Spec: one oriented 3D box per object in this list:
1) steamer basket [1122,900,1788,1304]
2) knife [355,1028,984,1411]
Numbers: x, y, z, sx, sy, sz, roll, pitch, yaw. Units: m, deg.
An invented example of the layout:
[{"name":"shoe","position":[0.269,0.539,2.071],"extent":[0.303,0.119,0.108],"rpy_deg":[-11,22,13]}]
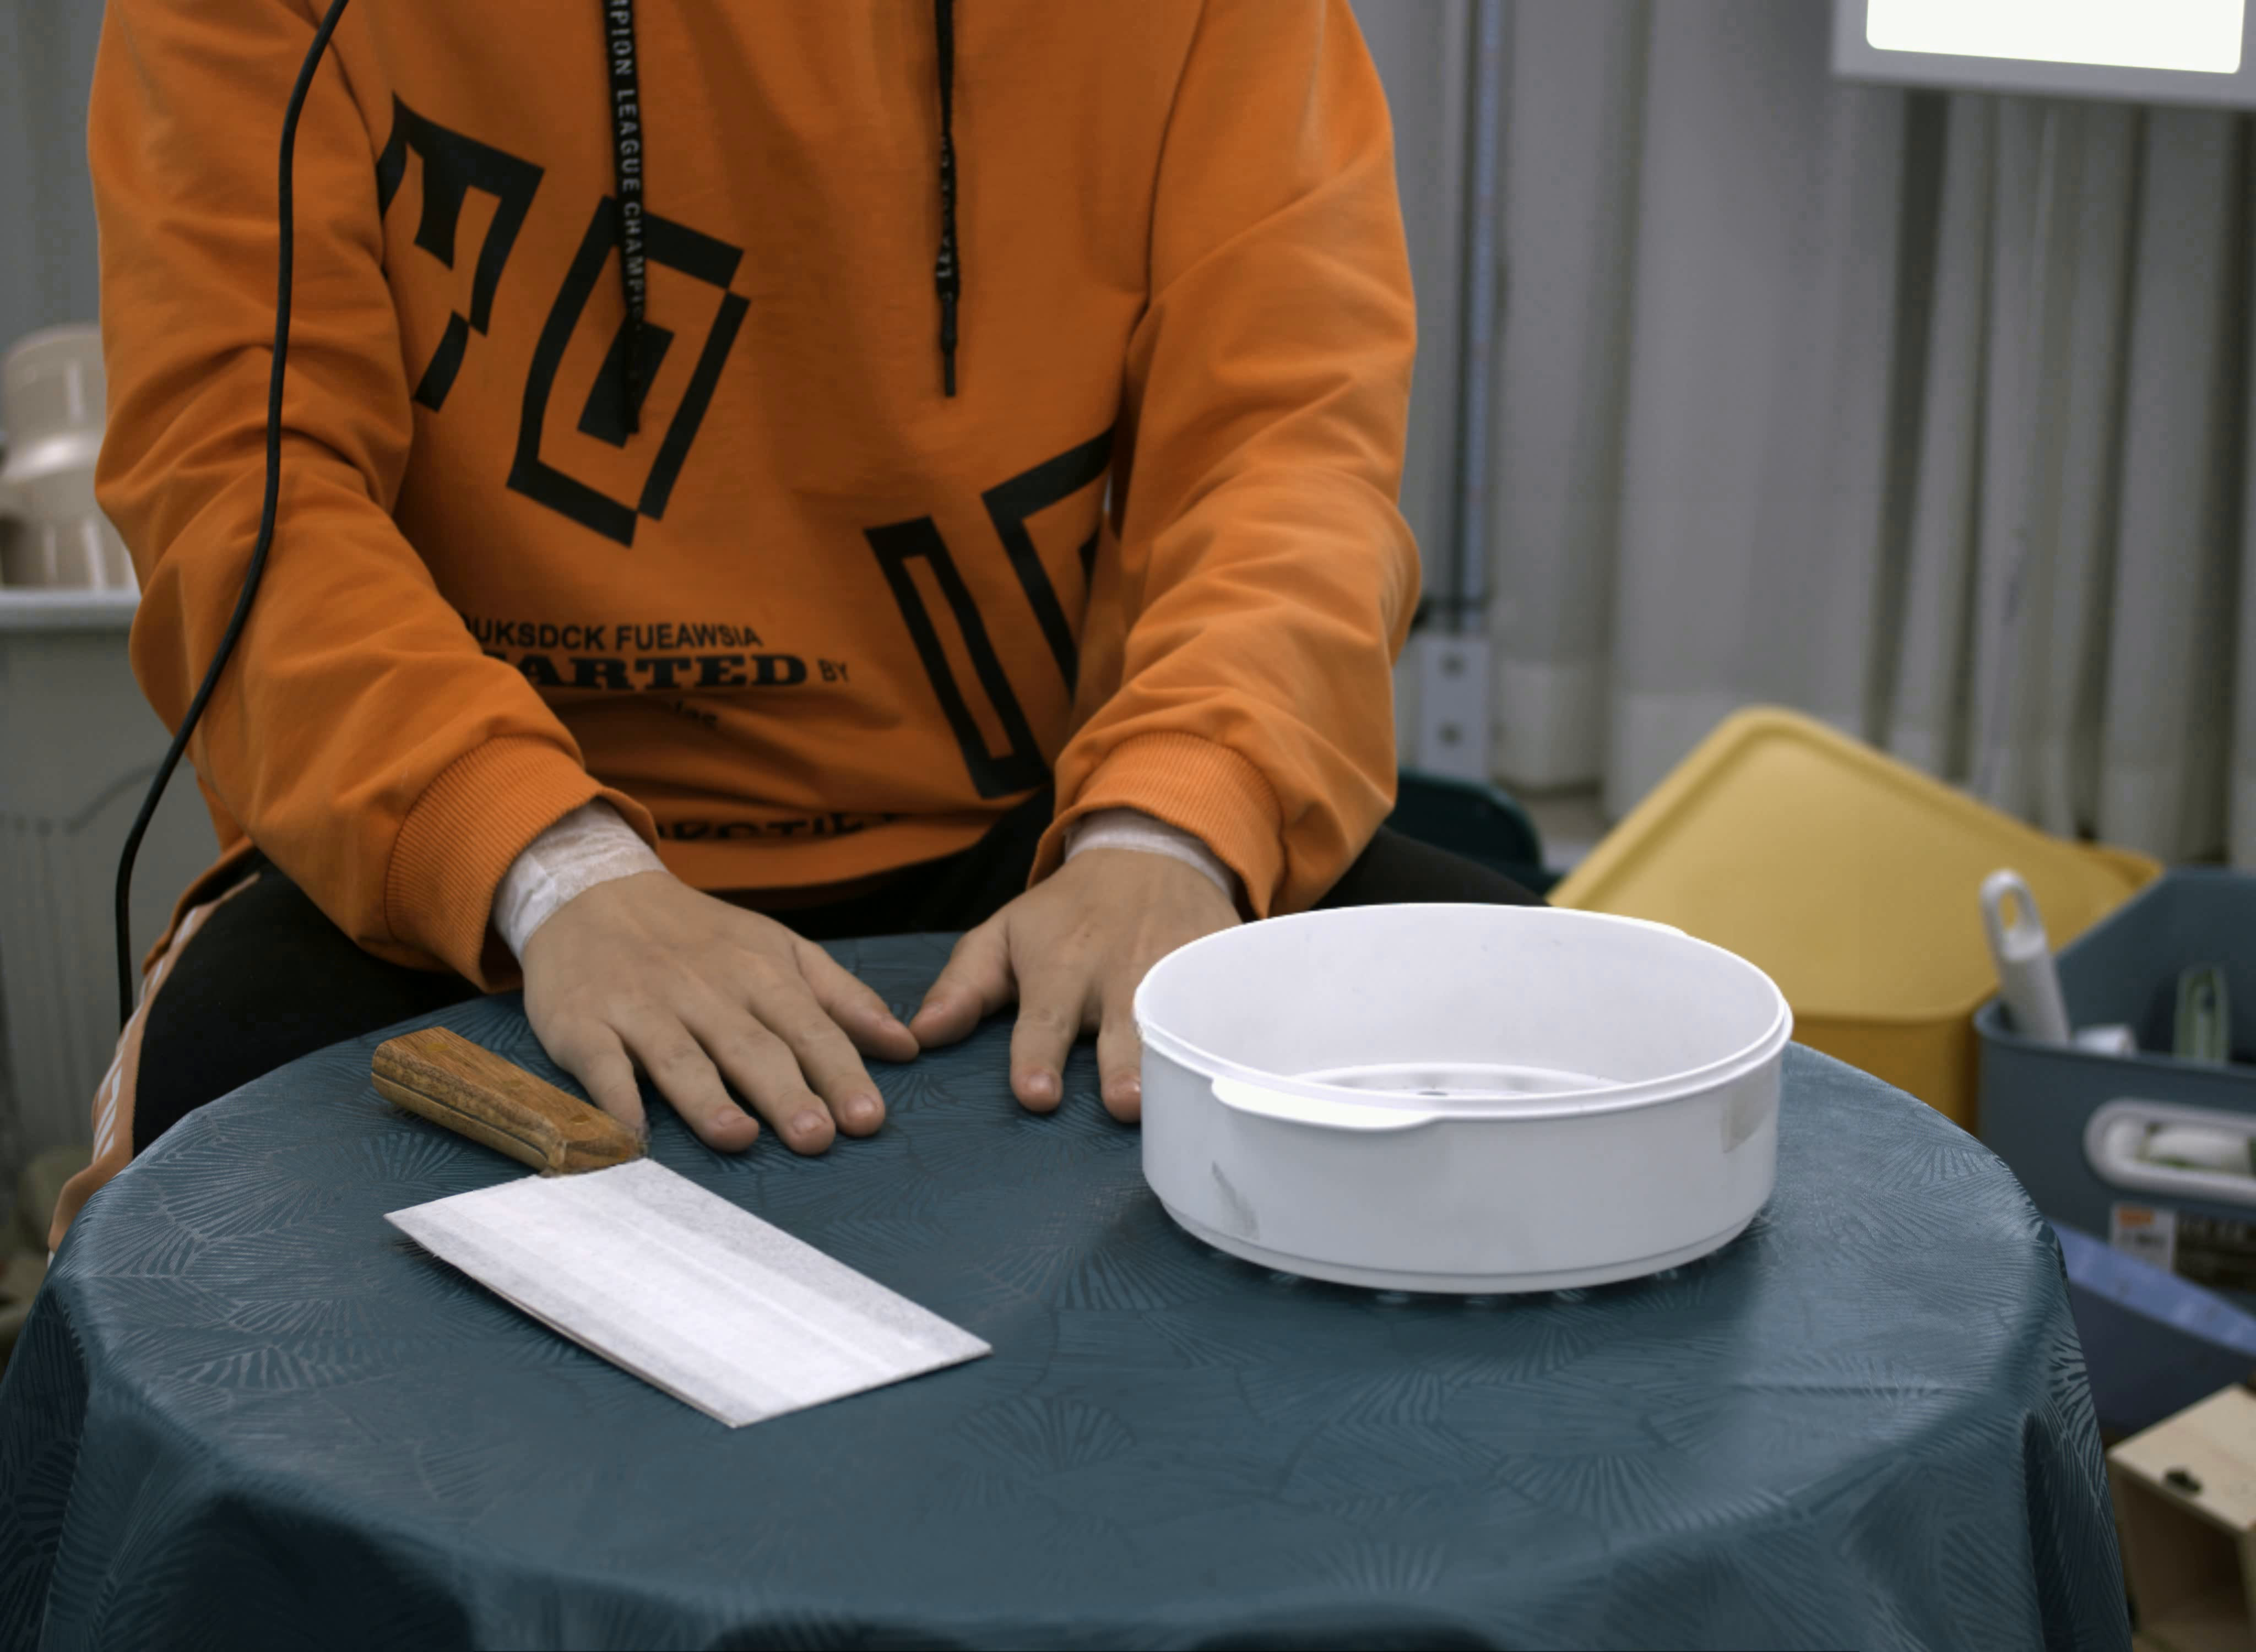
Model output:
[{"name":"steamer basket","position":[0.099,0.083,1.600],"extent":[0.199,0.070,0.231],"rpy_deg":[8,19,26]},{"name":"knife","position":[-0.164,0.117,1.572],"extent":[0.093,0.021,0.301],"rpy_deg":[-14,23,-36]}]
